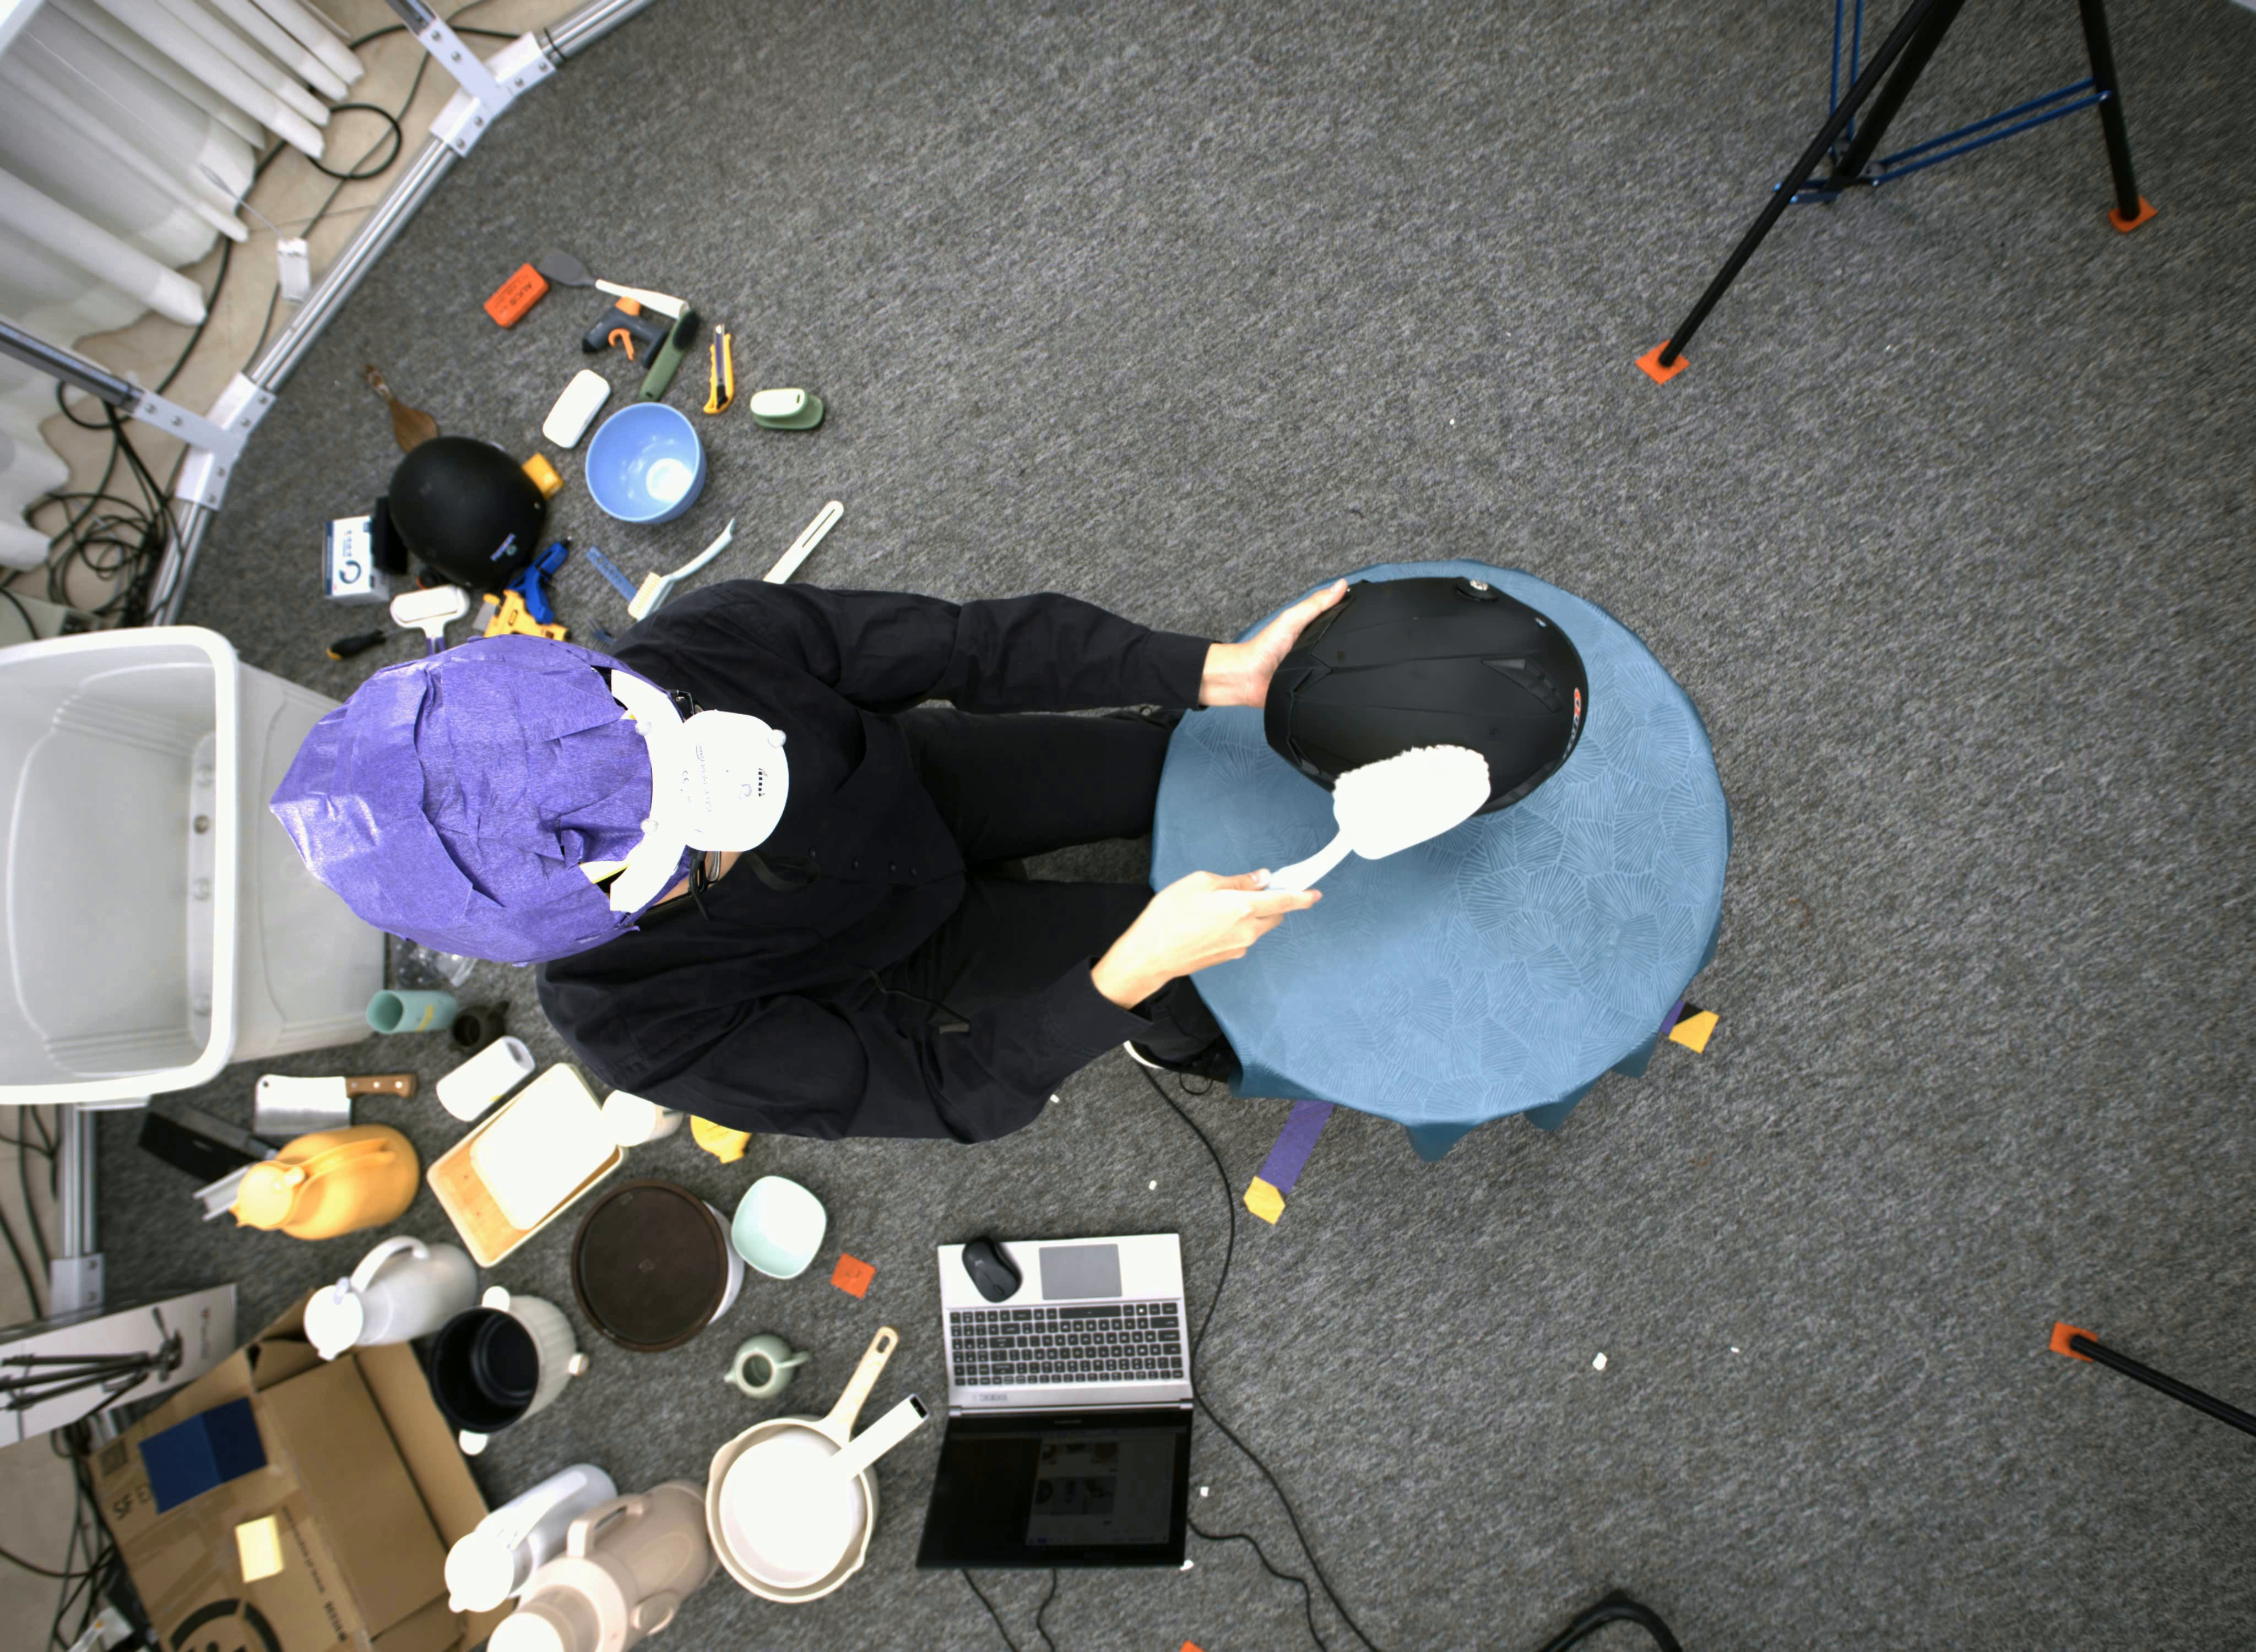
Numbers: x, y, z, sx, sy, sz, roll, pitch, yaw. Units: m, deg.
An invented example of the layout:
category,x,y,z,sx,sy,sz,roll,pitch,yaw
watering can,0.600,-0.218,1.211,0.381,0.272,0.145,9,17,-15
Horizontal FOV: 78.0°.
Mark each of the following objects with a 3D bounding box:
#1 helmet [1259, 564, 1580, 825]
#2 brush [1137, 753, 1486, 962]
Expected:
category,x,y,z,sx,sy,sz,roll,pitch,yaw
helmet,0.259,-0.102,1.221,0.277,0.168,0.252,10,120,11
brush,0.150,0.020,1.180,0.328,0.085,0.082,-27,75,12
